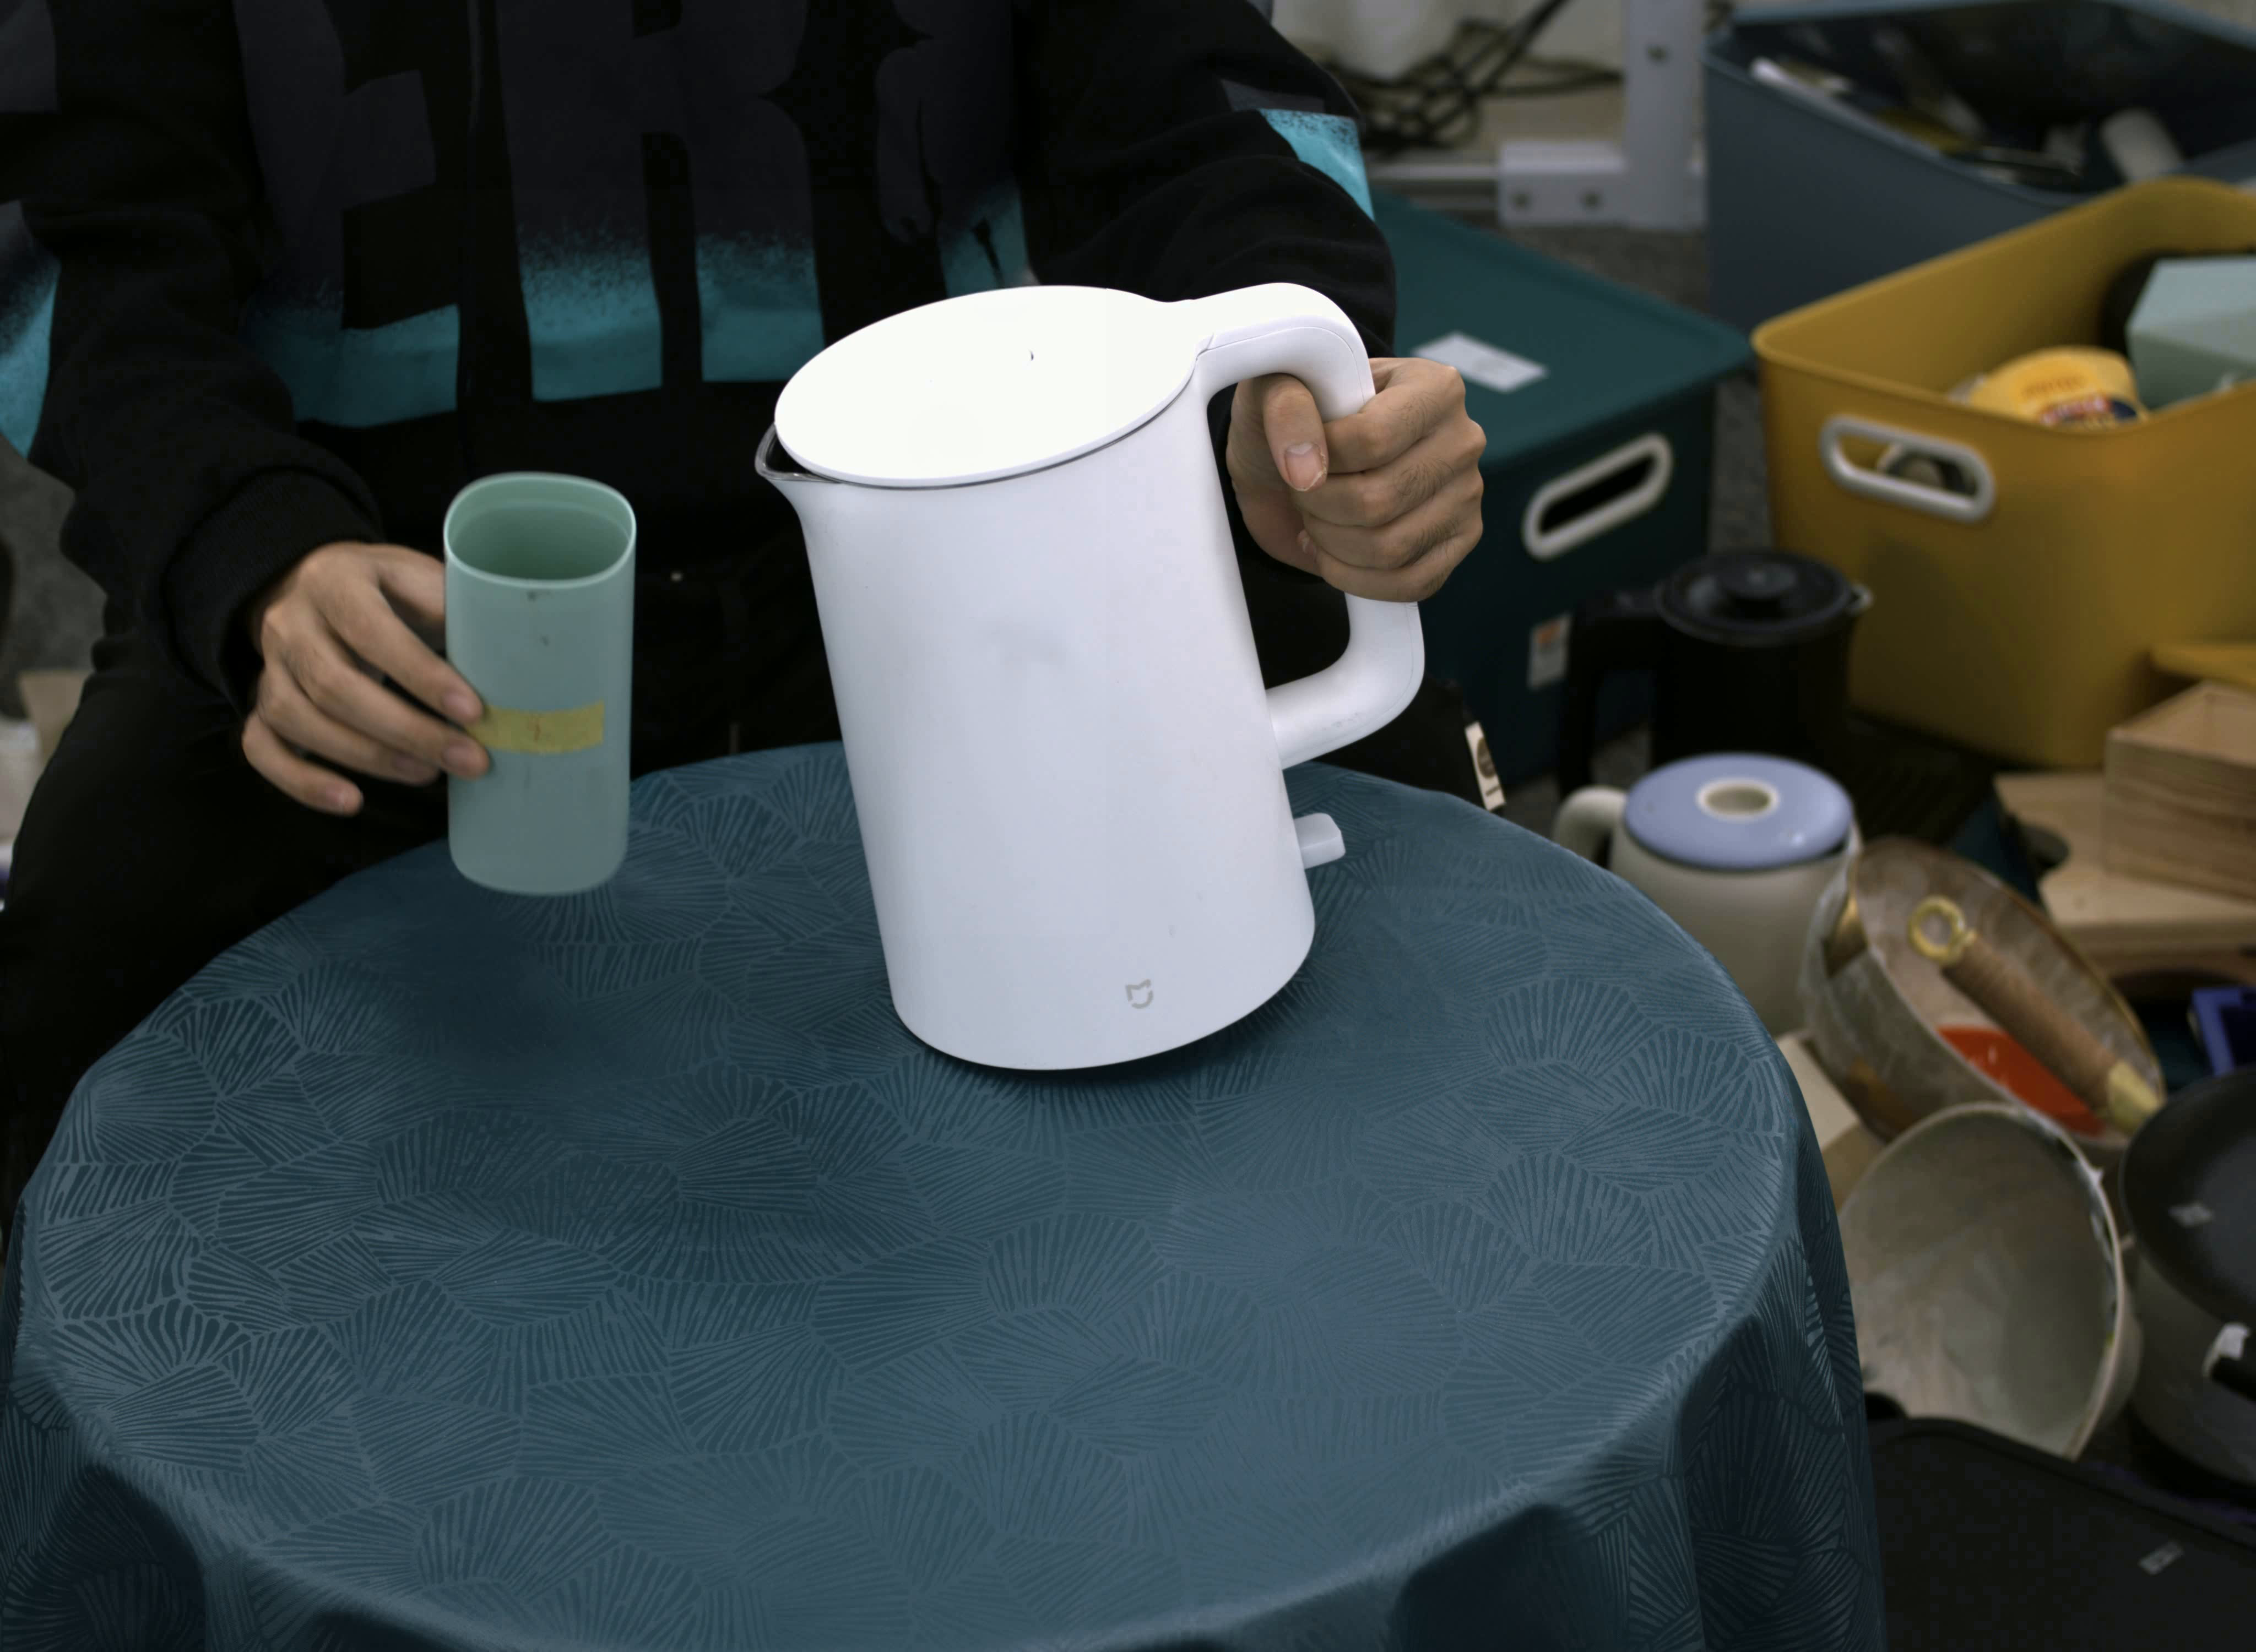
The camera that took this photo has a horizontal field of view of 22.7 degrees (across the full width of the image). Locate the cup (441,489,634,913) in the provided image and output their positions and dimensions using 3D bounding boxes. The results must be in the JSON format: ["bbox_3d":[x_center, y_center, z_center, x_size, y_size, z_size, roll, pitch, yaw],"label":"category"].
[{"bbox_3d":[-0.196,-0.042,1.877,0.066,0.130,0.068,3,38,-2],"label":"cup"}]

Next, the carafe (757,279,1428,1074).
[{"bbox_3d":[-0.002,-0.059,1.934,0.213,0.237,0.153,-17,29,-9],"label":"carafe"}]
